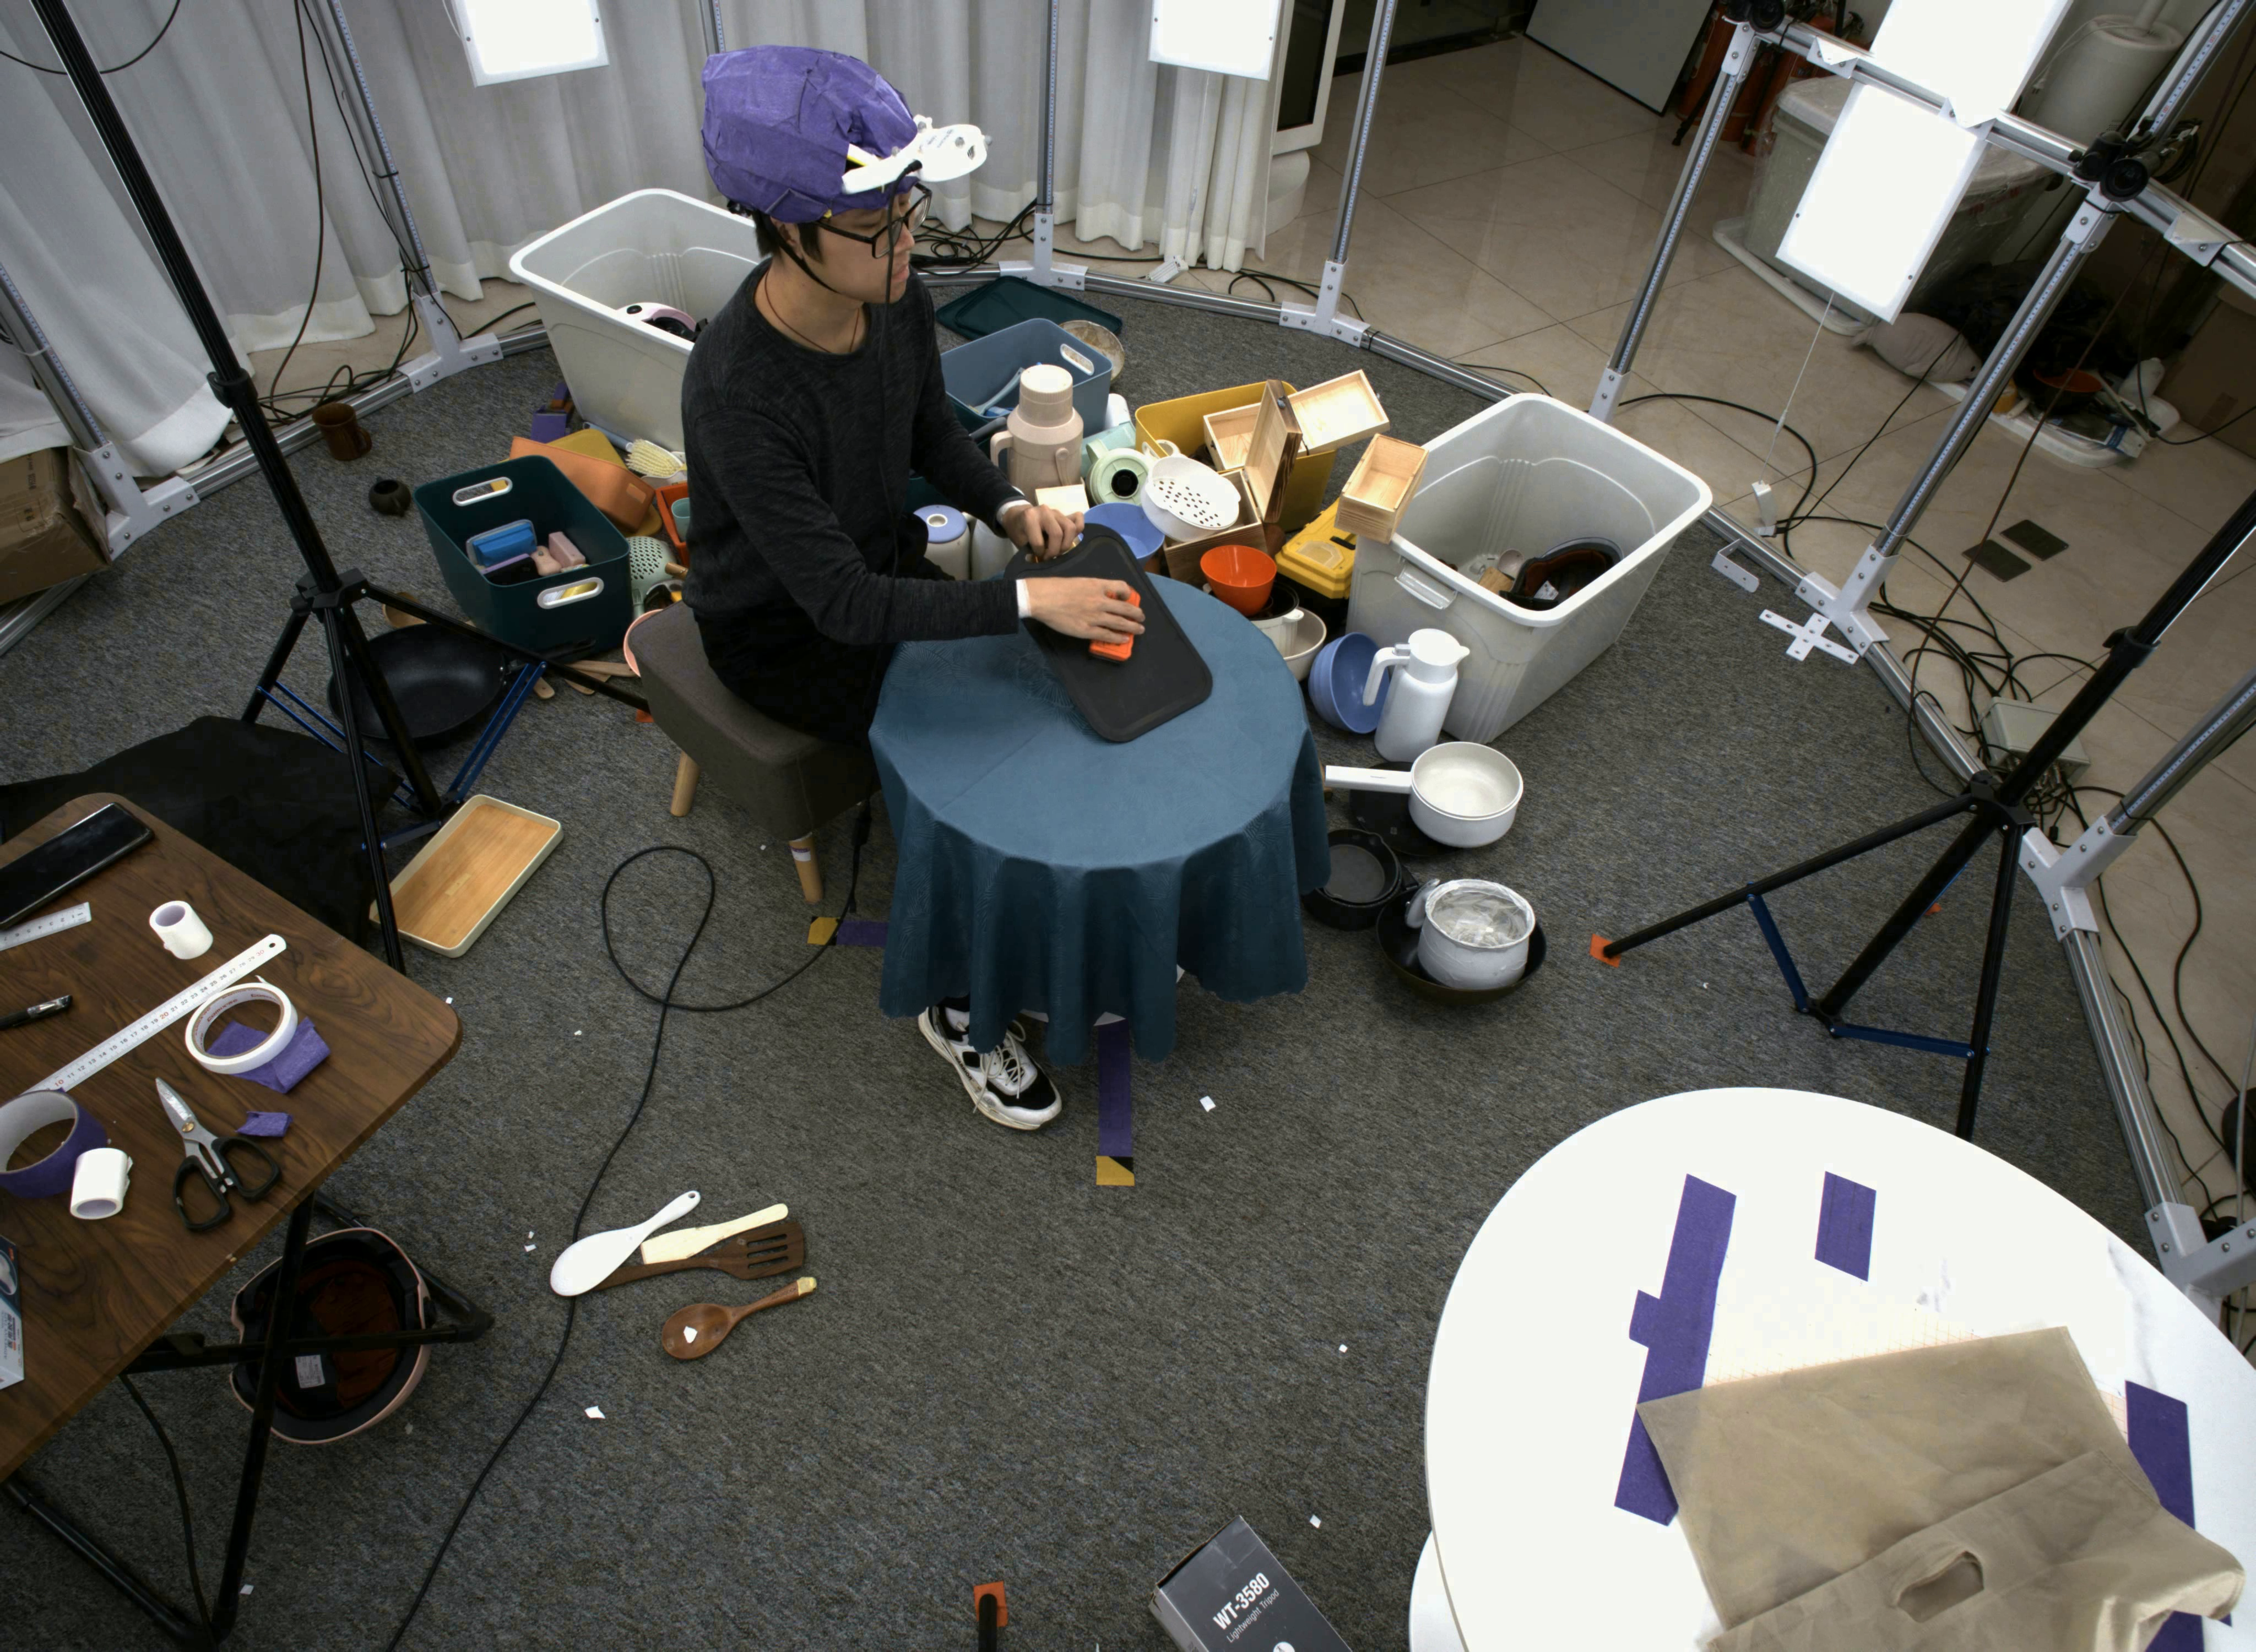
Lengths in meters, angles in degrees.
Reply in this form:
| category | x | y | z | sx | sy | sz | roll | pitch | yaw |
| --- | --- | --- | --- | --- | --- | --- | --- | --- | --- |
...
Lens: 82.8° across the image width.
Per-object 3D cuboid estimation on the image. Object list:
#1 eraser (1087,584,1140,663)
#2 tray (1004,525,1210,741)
| category | x | y | z | sx | sy | sz | roll | pitch | yaw |
| --- | --- | --- | --- | --- | --- | --- | --- | --- | --- |
| eraser | -0.020 | -0.287 | 1.821 | 0.059 | 0.022 | 0.110 | 15 | 67 | -10 |
| tray | -0.032 | -0.284 | 1.826 | 0.212 | 0.009 | 0.328 | -28 | 80 | -26 |
